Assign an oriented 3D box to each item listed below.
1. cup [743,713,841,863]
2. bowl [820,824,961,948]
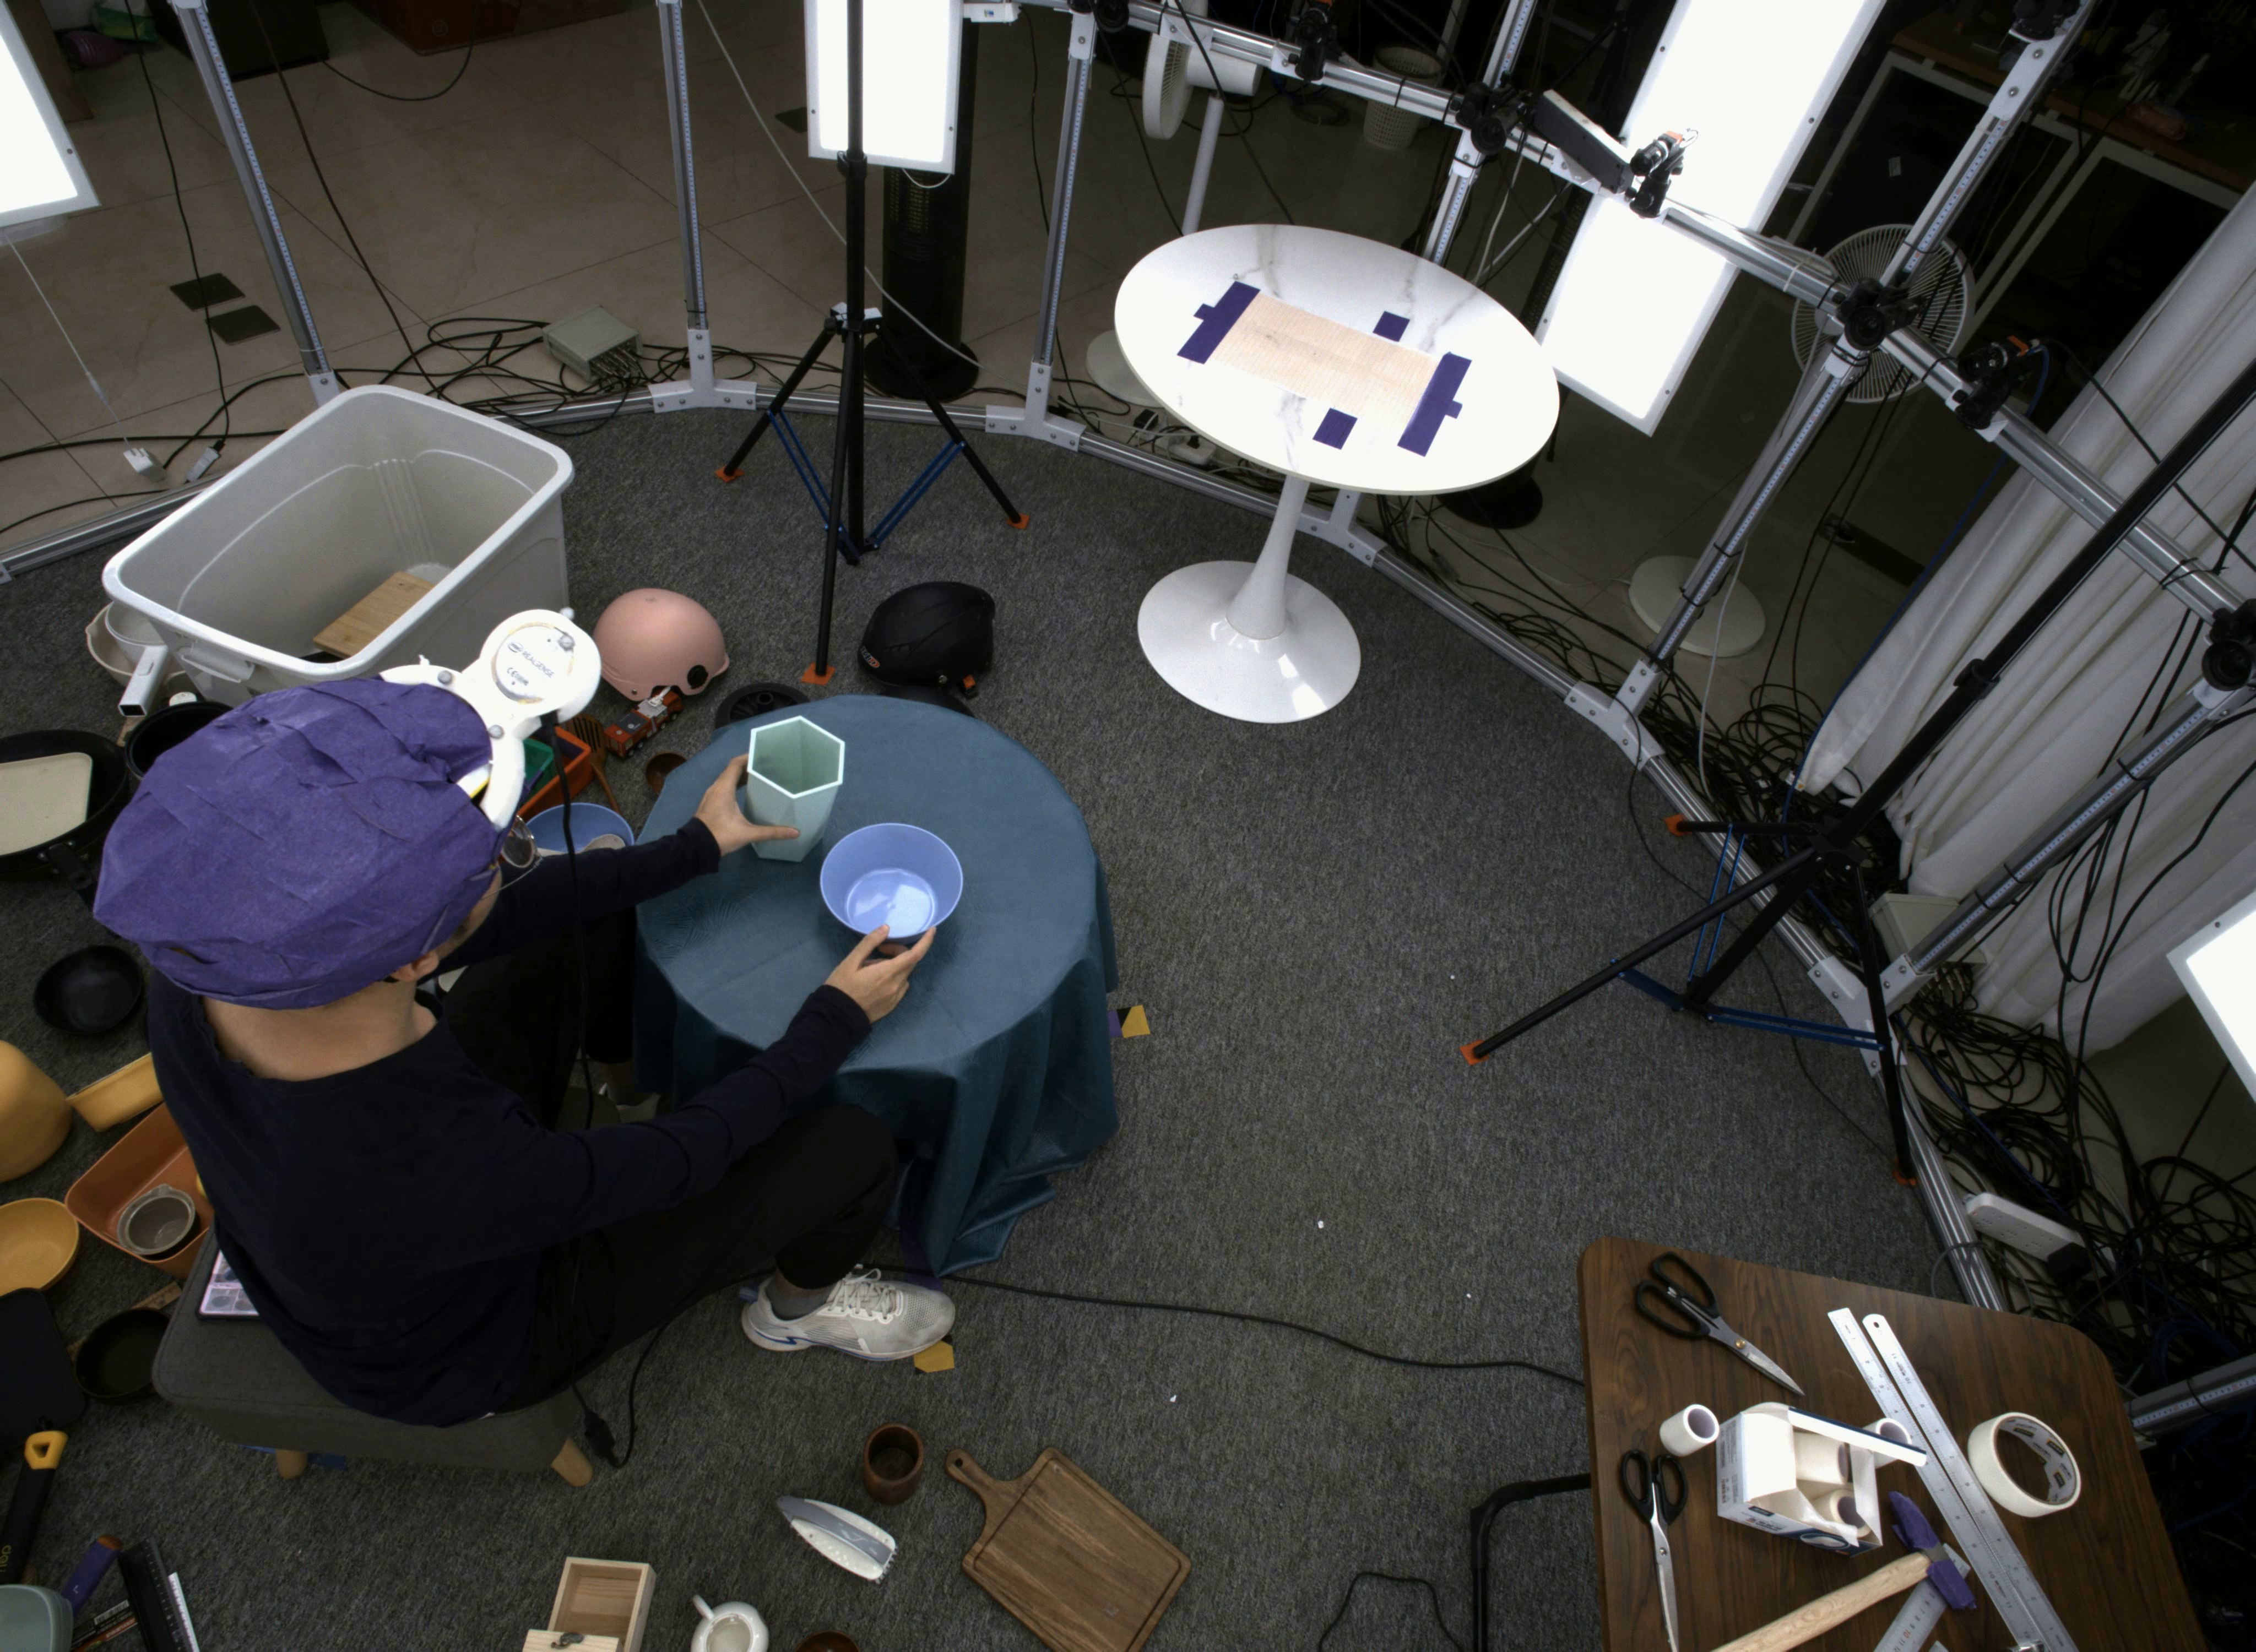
[{"bbox_3d":[-0.428,-0.041,1.641,0.130,0.165,0.114,26,50,1],"label":"cup"},{"bbox_3d":[-0.300,0.086,1.647,0.175,0.072,0.173,7,53,-8],"label":"bowl"}]
